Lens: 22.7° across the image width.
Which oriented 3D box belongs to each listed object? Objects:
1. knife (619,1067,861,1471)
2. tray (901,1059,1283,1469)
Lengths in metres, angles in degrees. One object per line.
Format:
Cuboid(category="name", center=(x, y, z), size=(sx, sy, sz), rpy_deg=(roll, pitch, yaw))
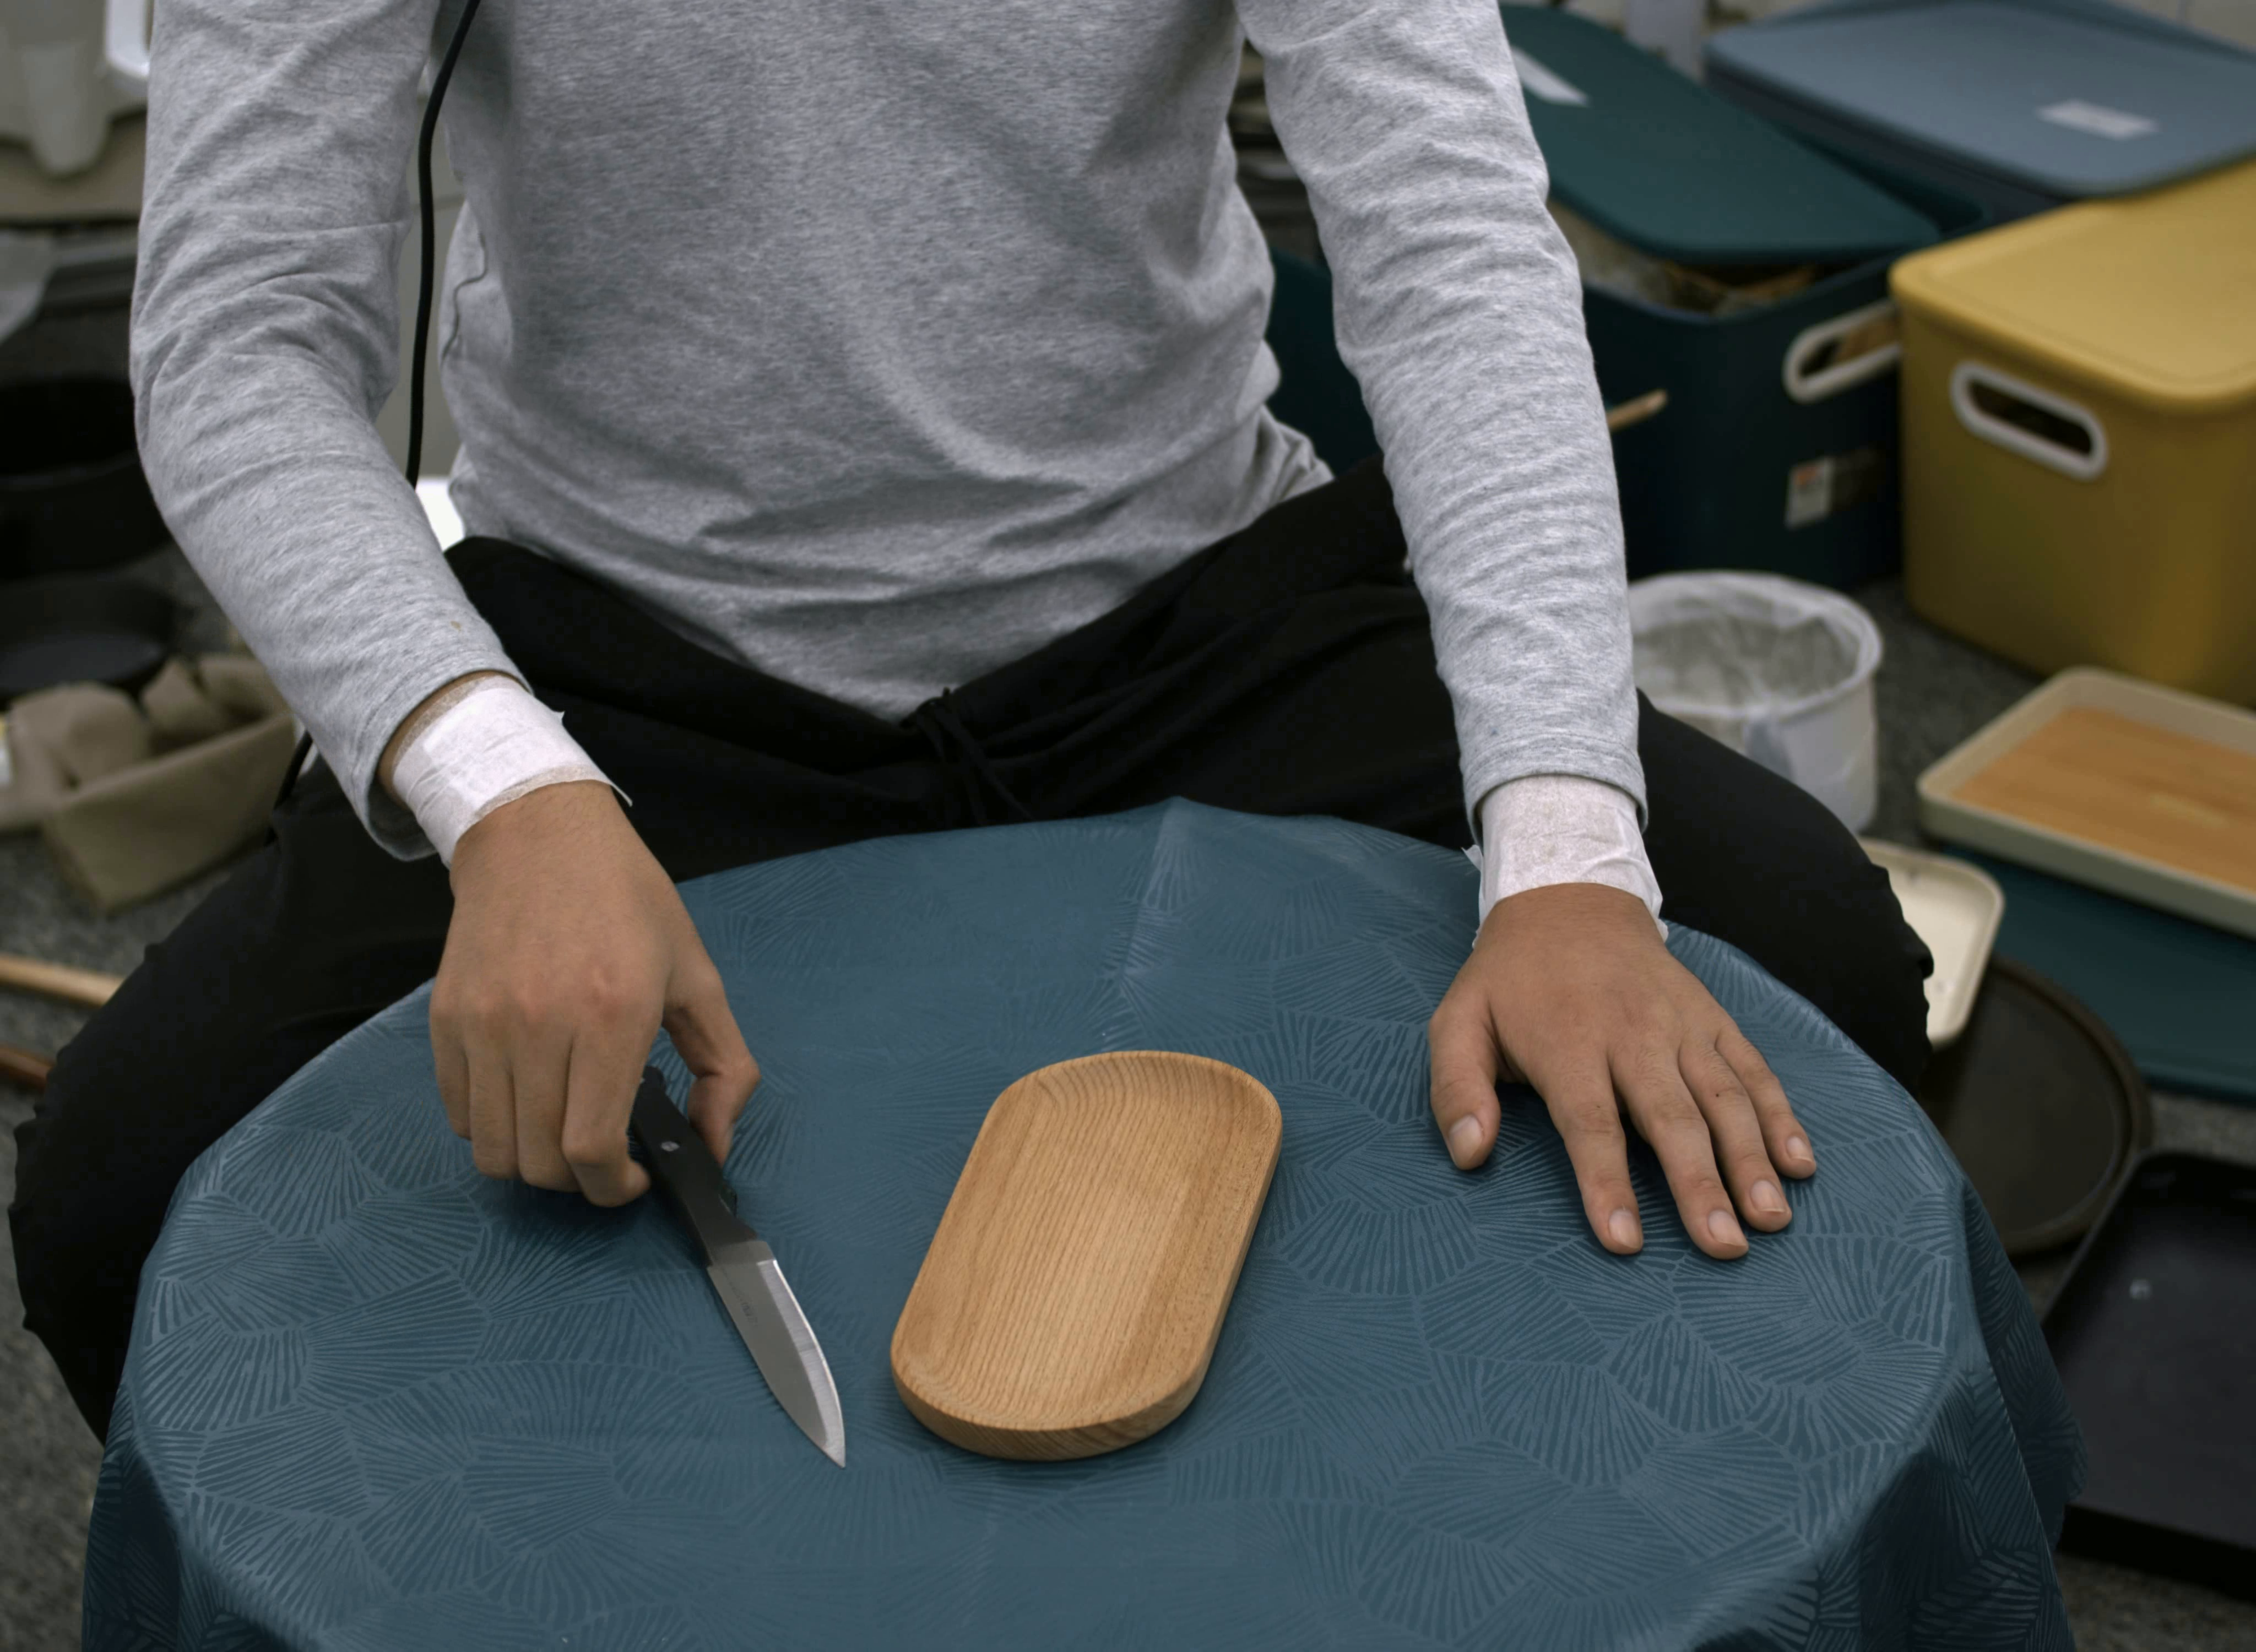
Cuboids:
Cuboid(category="knife", center=(-0.127, 0.143, 1.819), size=(0.024, 0.016, 0.240), rpy_deg=(-11, 31, -17))
Cuboid(category="tray", center=(-0.010, 0.139, 1.812), size=(0.101, 0.020, 0.235), rpy_deg=(1, 29, 10))
